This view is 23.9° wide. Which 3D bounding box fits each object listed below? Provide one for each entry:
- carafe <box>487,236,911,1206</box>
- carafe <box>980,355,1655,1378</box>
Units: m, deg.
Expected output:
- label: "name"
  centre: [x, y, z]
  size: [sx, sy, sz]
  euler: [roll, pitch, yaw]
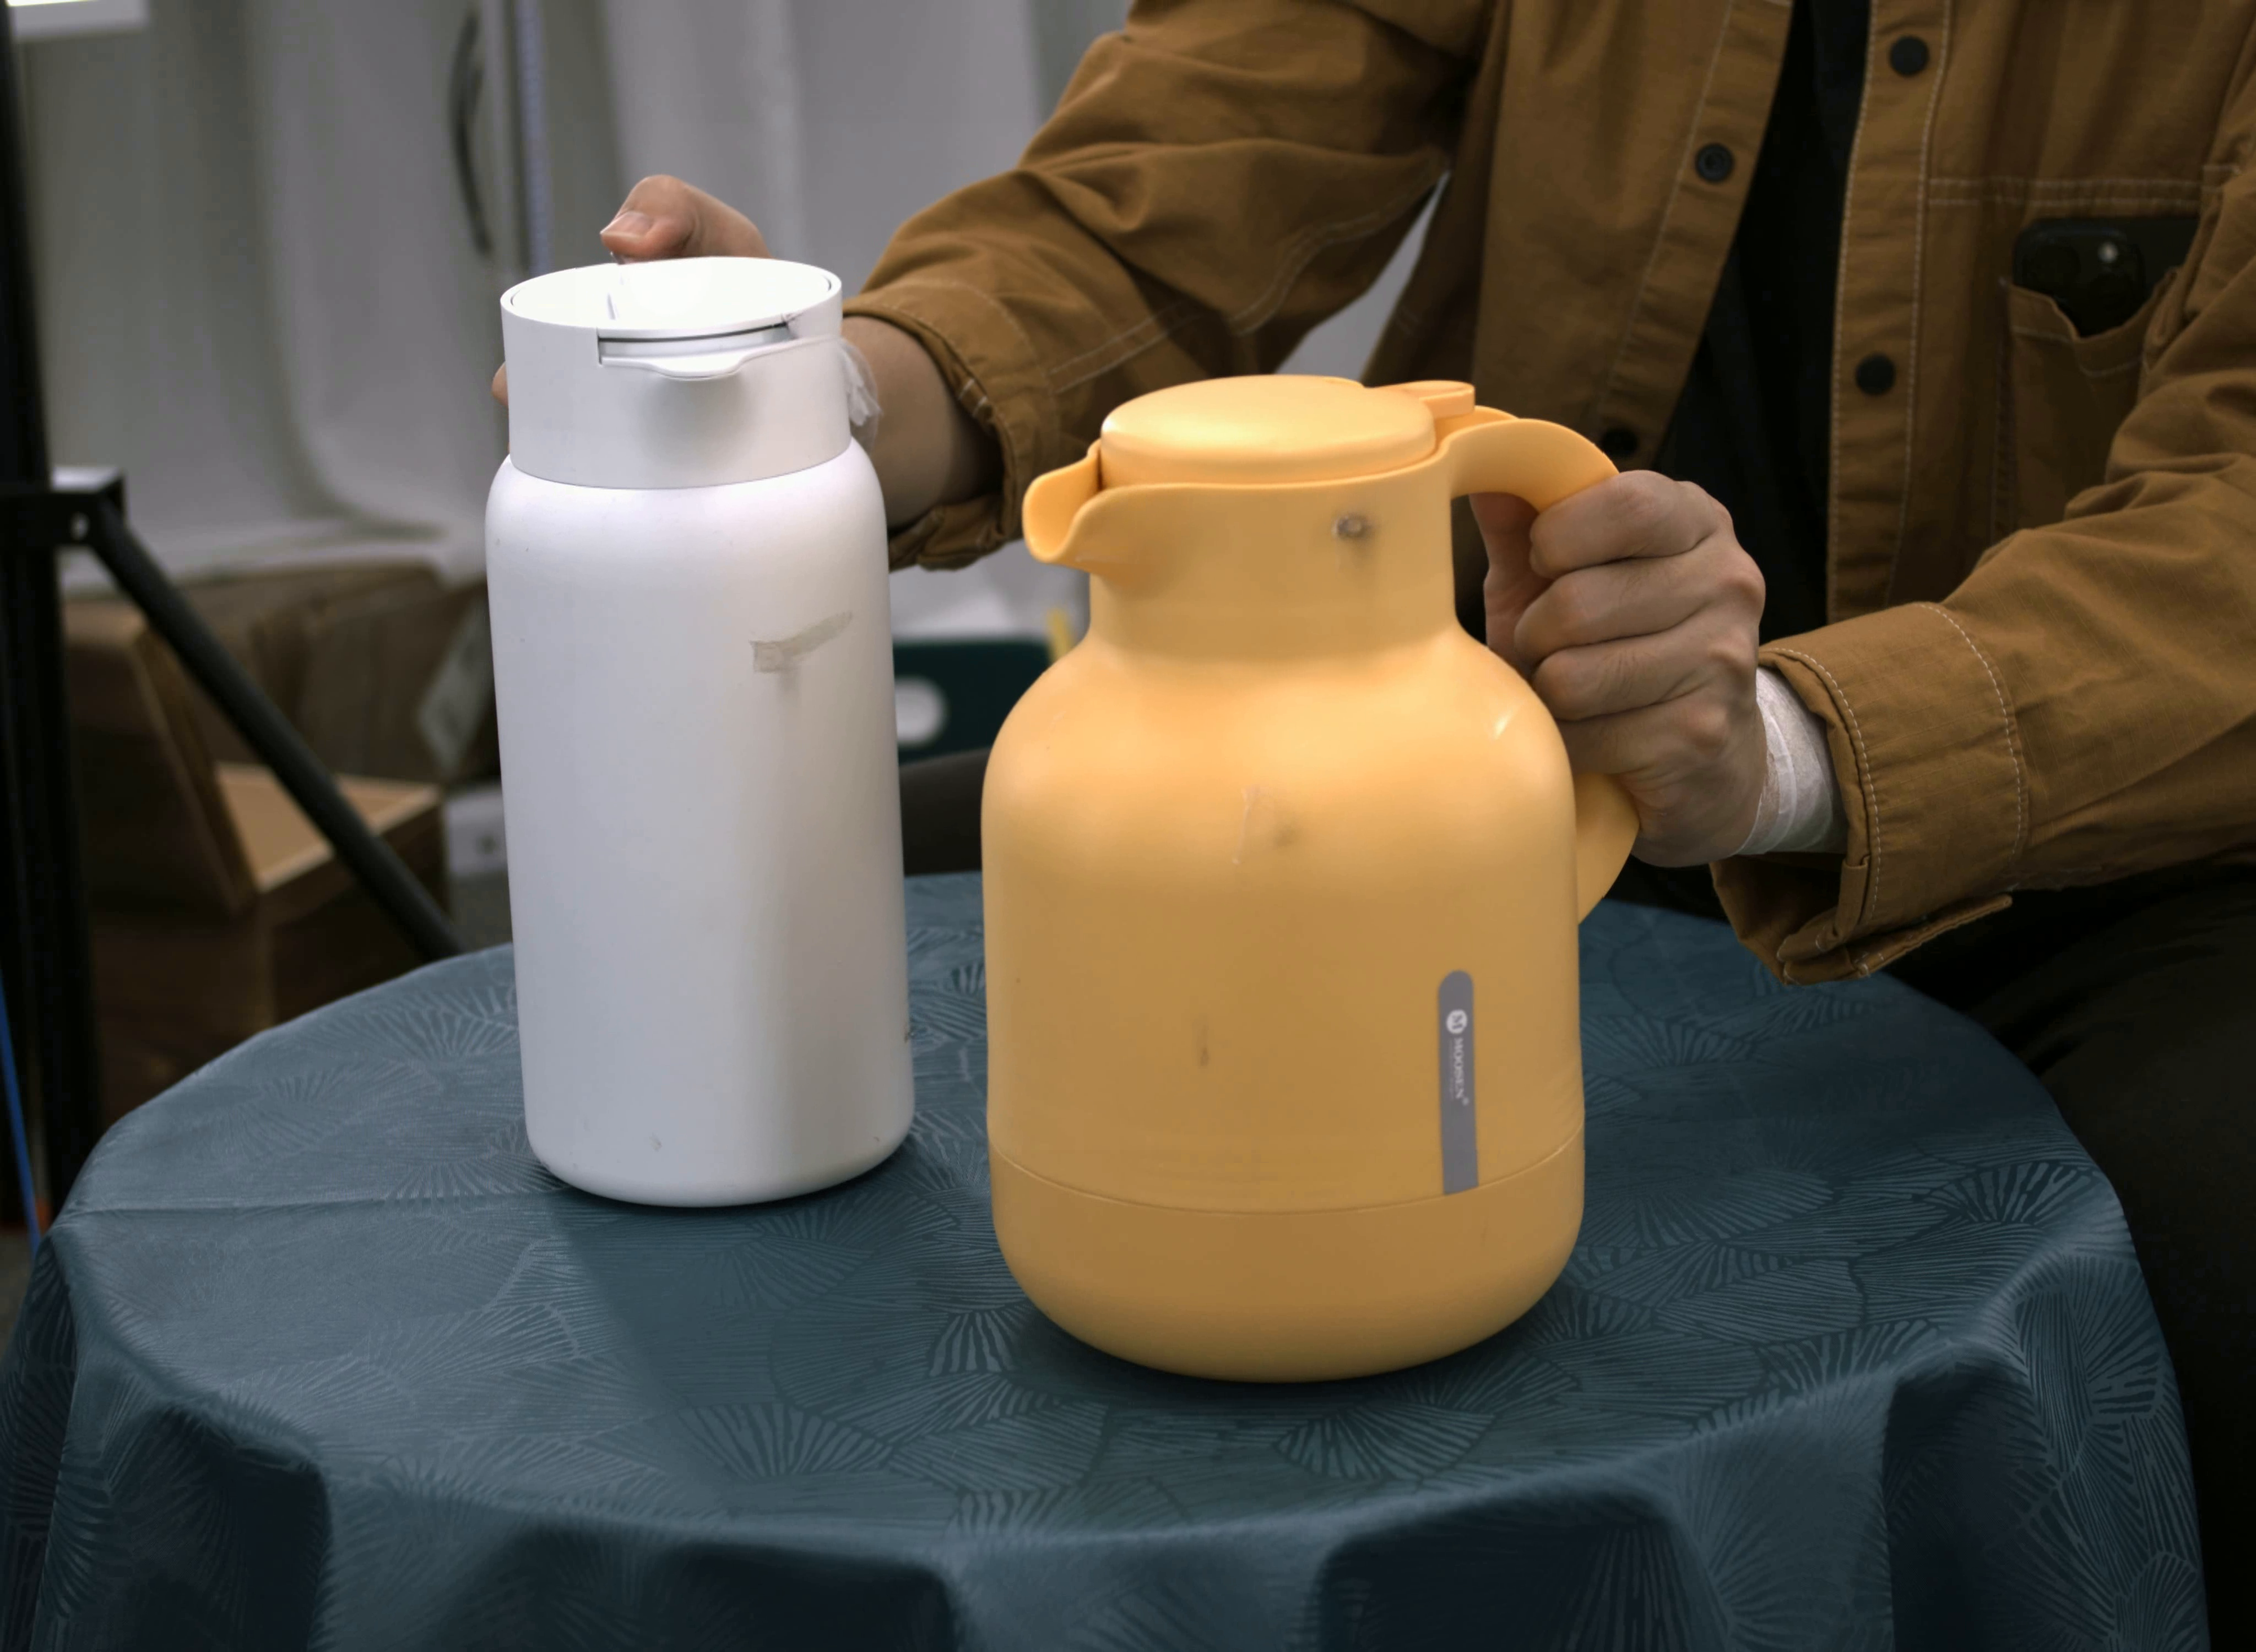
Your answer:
- label: "carafe"
  centre: [-0.131, -0.035, 1.586]
  size: [0.122, 0.268, 0.175]
  euler: [-7, 17, -10]
- label: "carafe"
  centre: [0.058, 0.004, 1.431]
  size: [0.198, 0.260, 0.167]
  euler: [-13, 21, -29]
